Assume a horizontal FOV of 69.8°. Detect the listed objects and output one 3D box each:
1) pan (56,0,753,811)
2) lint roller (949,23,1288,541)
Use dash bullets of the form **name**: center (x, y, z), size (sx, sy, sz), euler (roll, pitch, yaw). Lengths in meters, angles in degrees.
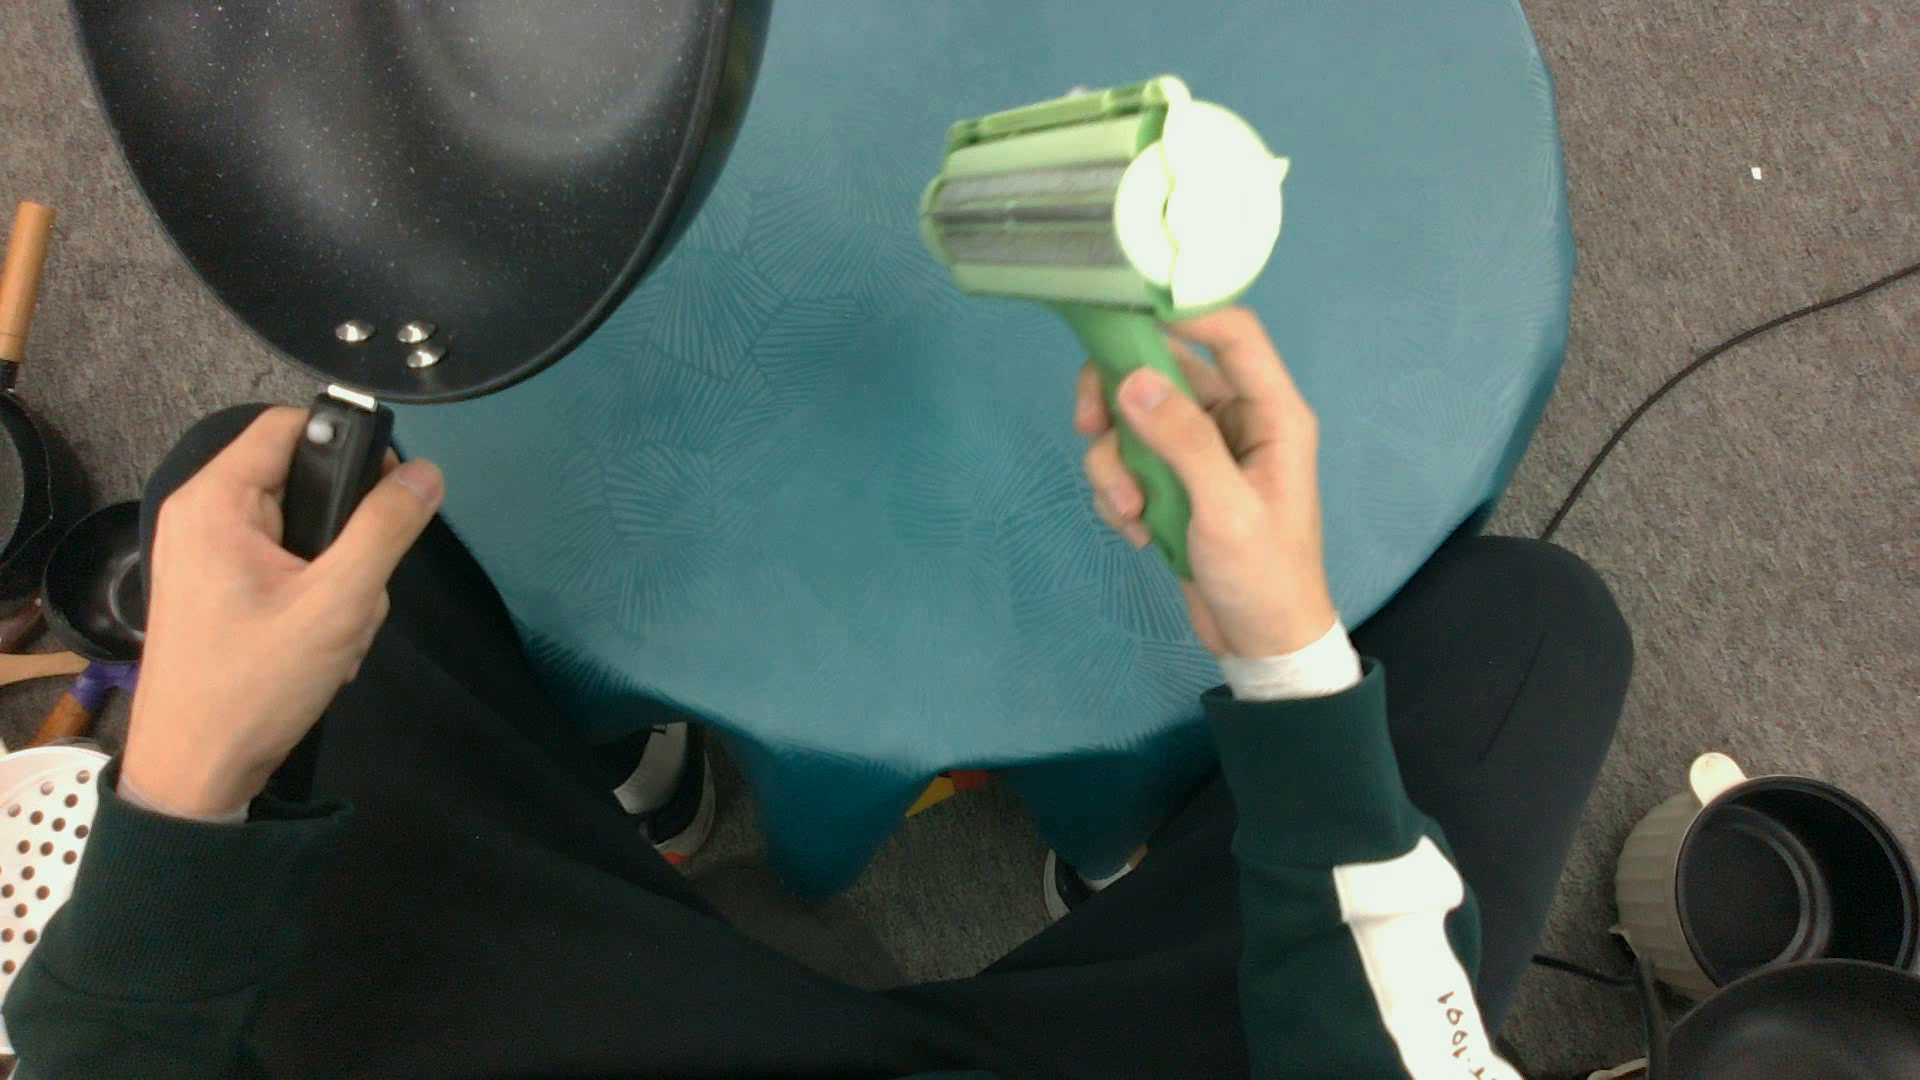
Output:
- **pan**: center (-0.196, -0.133, 0.474), size (0.310, 0.112, 0.475), euler (19, 111, 24)
- **lint roller**: center (0.077, -0.092, 0.506), size (0.082, 0.198, 0.183), euler (-34, 108, -6)
